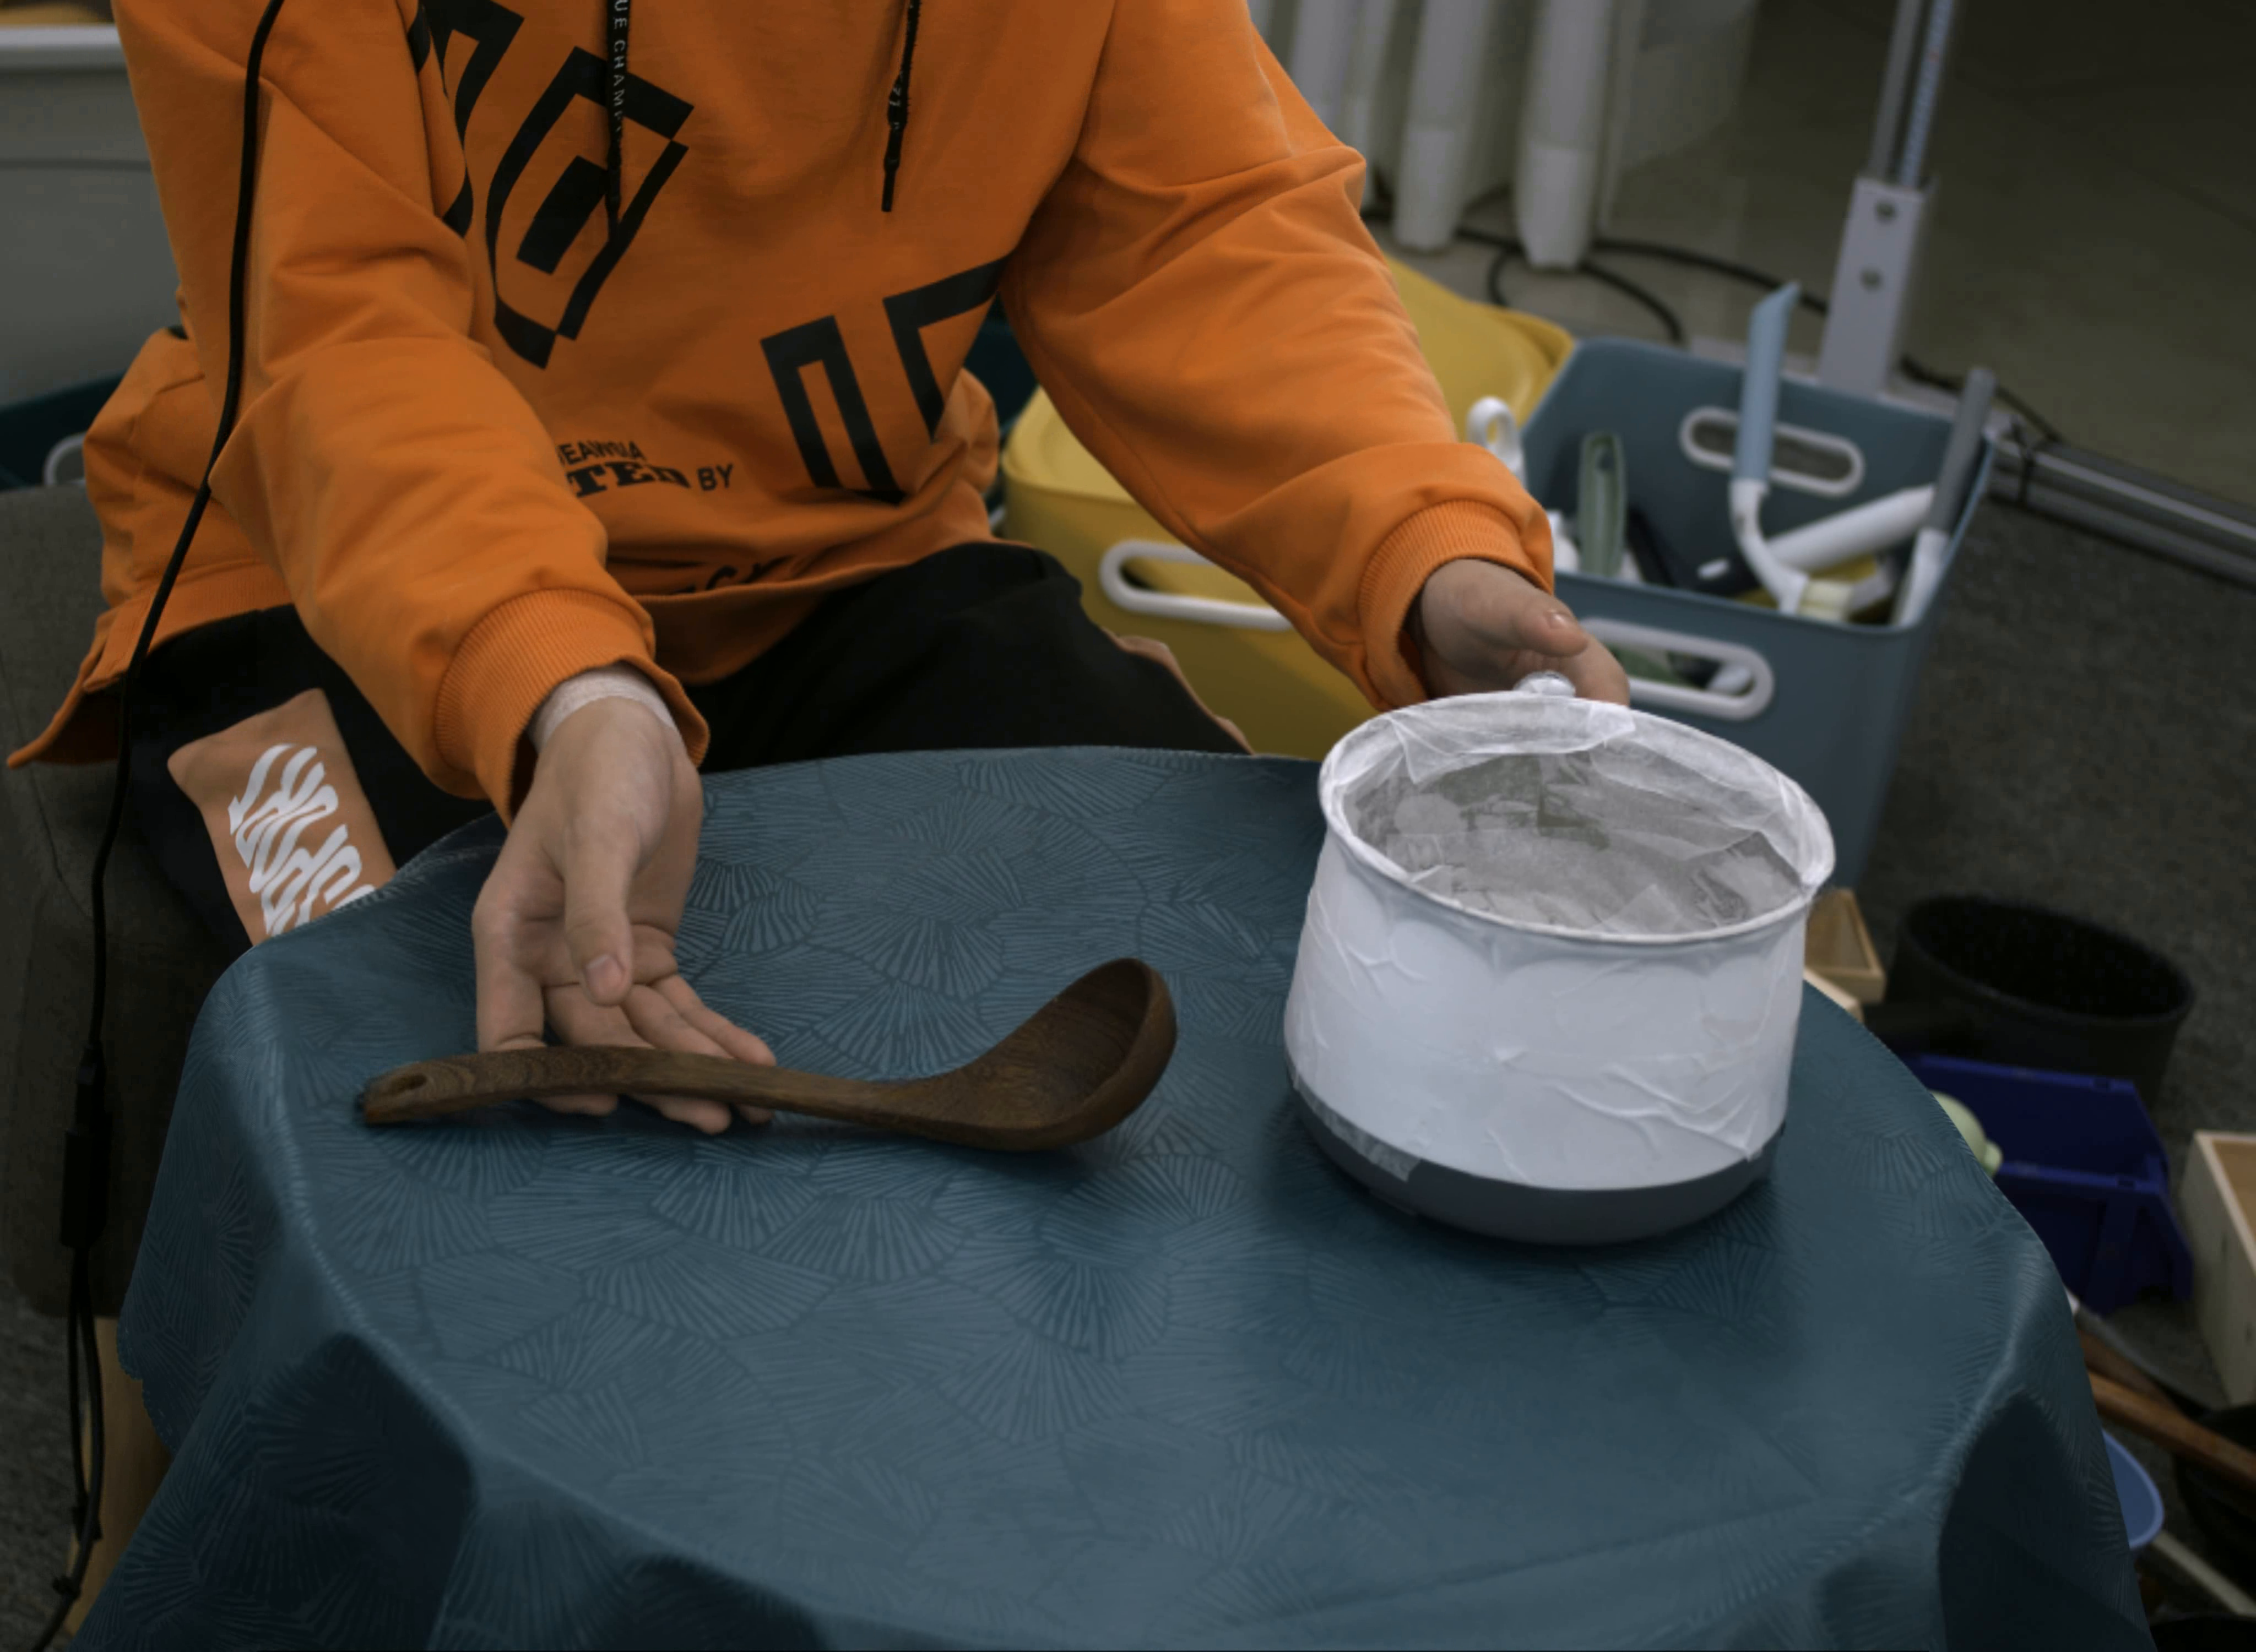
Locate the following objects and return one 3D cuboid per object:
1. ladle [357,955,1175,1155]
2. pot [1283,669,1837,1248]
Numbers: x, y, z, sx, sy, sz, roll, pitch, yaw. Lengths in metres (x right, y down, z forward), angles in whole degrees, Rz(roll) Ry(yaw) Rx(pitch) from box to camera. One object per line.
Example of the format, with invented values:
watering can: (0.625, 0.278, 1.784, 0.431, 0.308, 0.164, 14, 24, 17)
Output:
ladle: (-0.121, 0.072, 1.799, 0.273, 0.071, 0.076, 4, 24, -8)
pot: (0.143, 0.038, 1.851, 0.178, 0.136, 0.235, 5, 27, -5)
